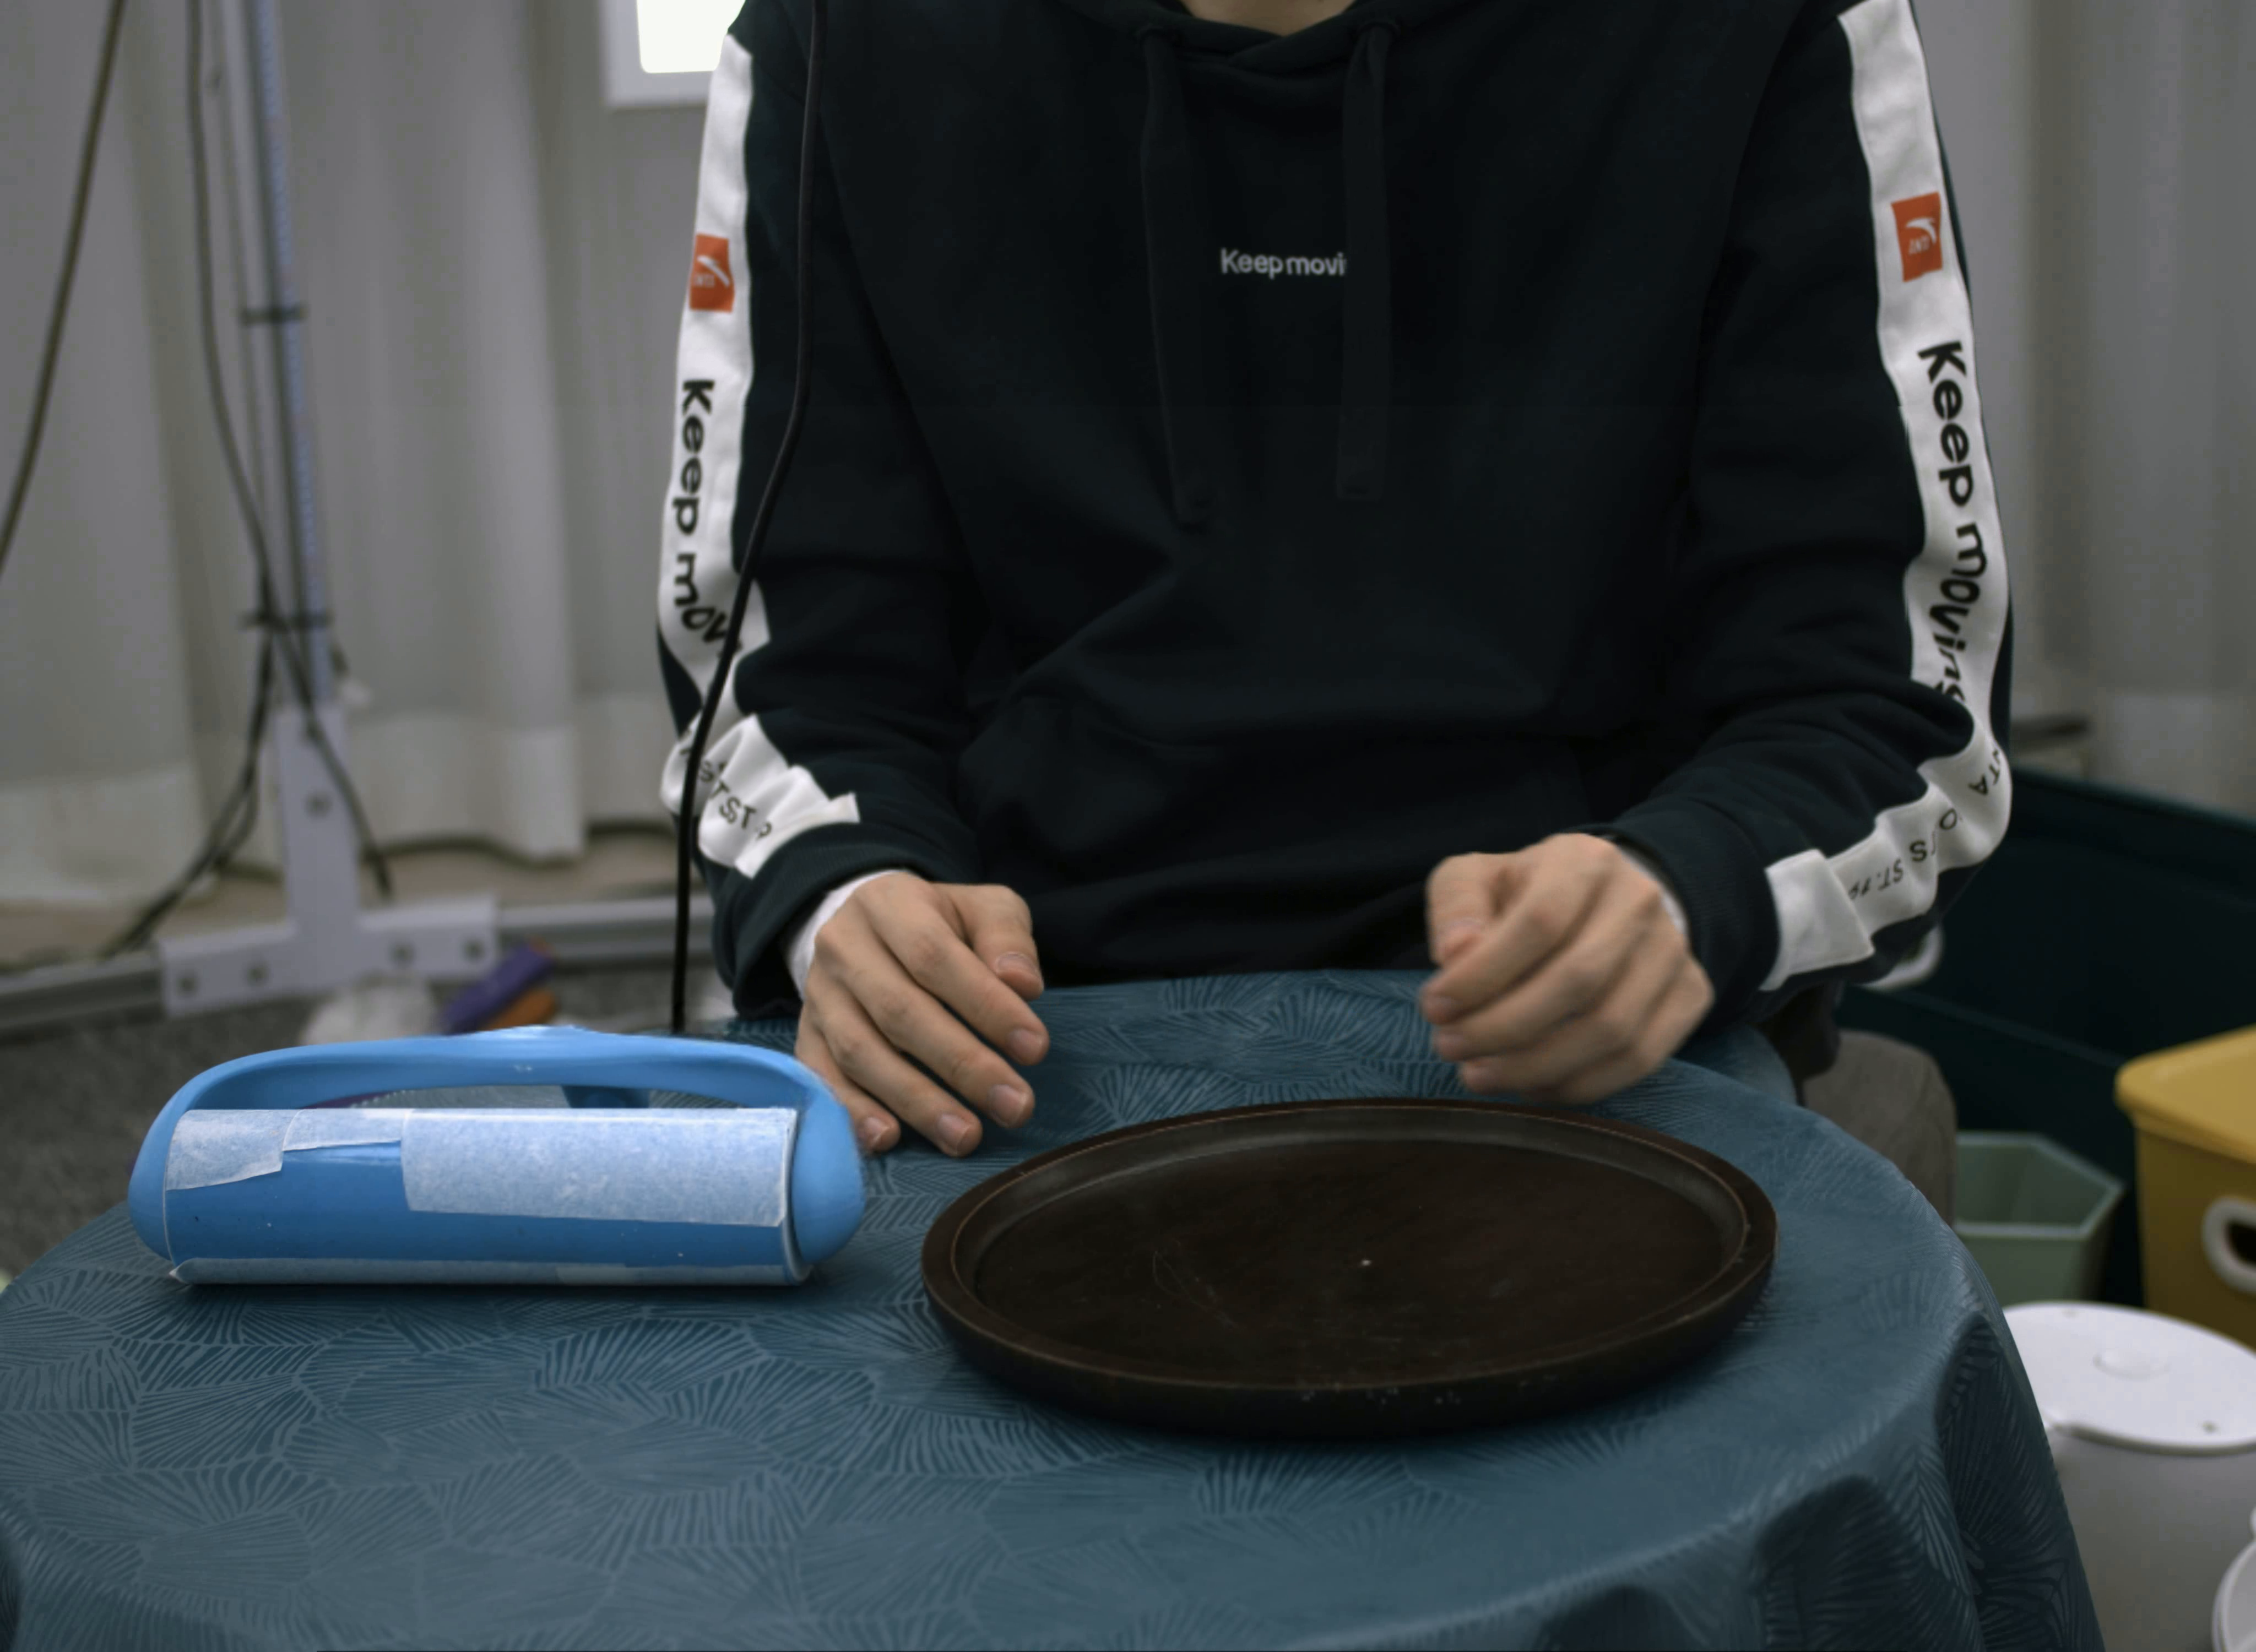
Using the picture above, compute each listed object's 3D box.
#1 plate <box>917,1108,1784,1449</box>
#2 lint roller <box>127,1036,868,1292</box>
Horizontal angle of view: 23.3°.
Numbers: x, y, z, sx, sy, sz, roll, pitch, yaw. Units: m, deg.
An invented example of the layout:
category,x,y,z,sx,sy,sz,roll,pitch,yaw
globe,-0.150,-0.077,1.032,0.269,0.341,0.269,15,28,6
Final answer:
category,x,y,z,sx,sy,sz,roll,pitch,yaw
plate,0.065,0.129,1.602,0.254,0.029,0.256,-3,16,0
lint roller,-0.186,0.096,1.712,0.228,0.067,0.181,-3,15,7
